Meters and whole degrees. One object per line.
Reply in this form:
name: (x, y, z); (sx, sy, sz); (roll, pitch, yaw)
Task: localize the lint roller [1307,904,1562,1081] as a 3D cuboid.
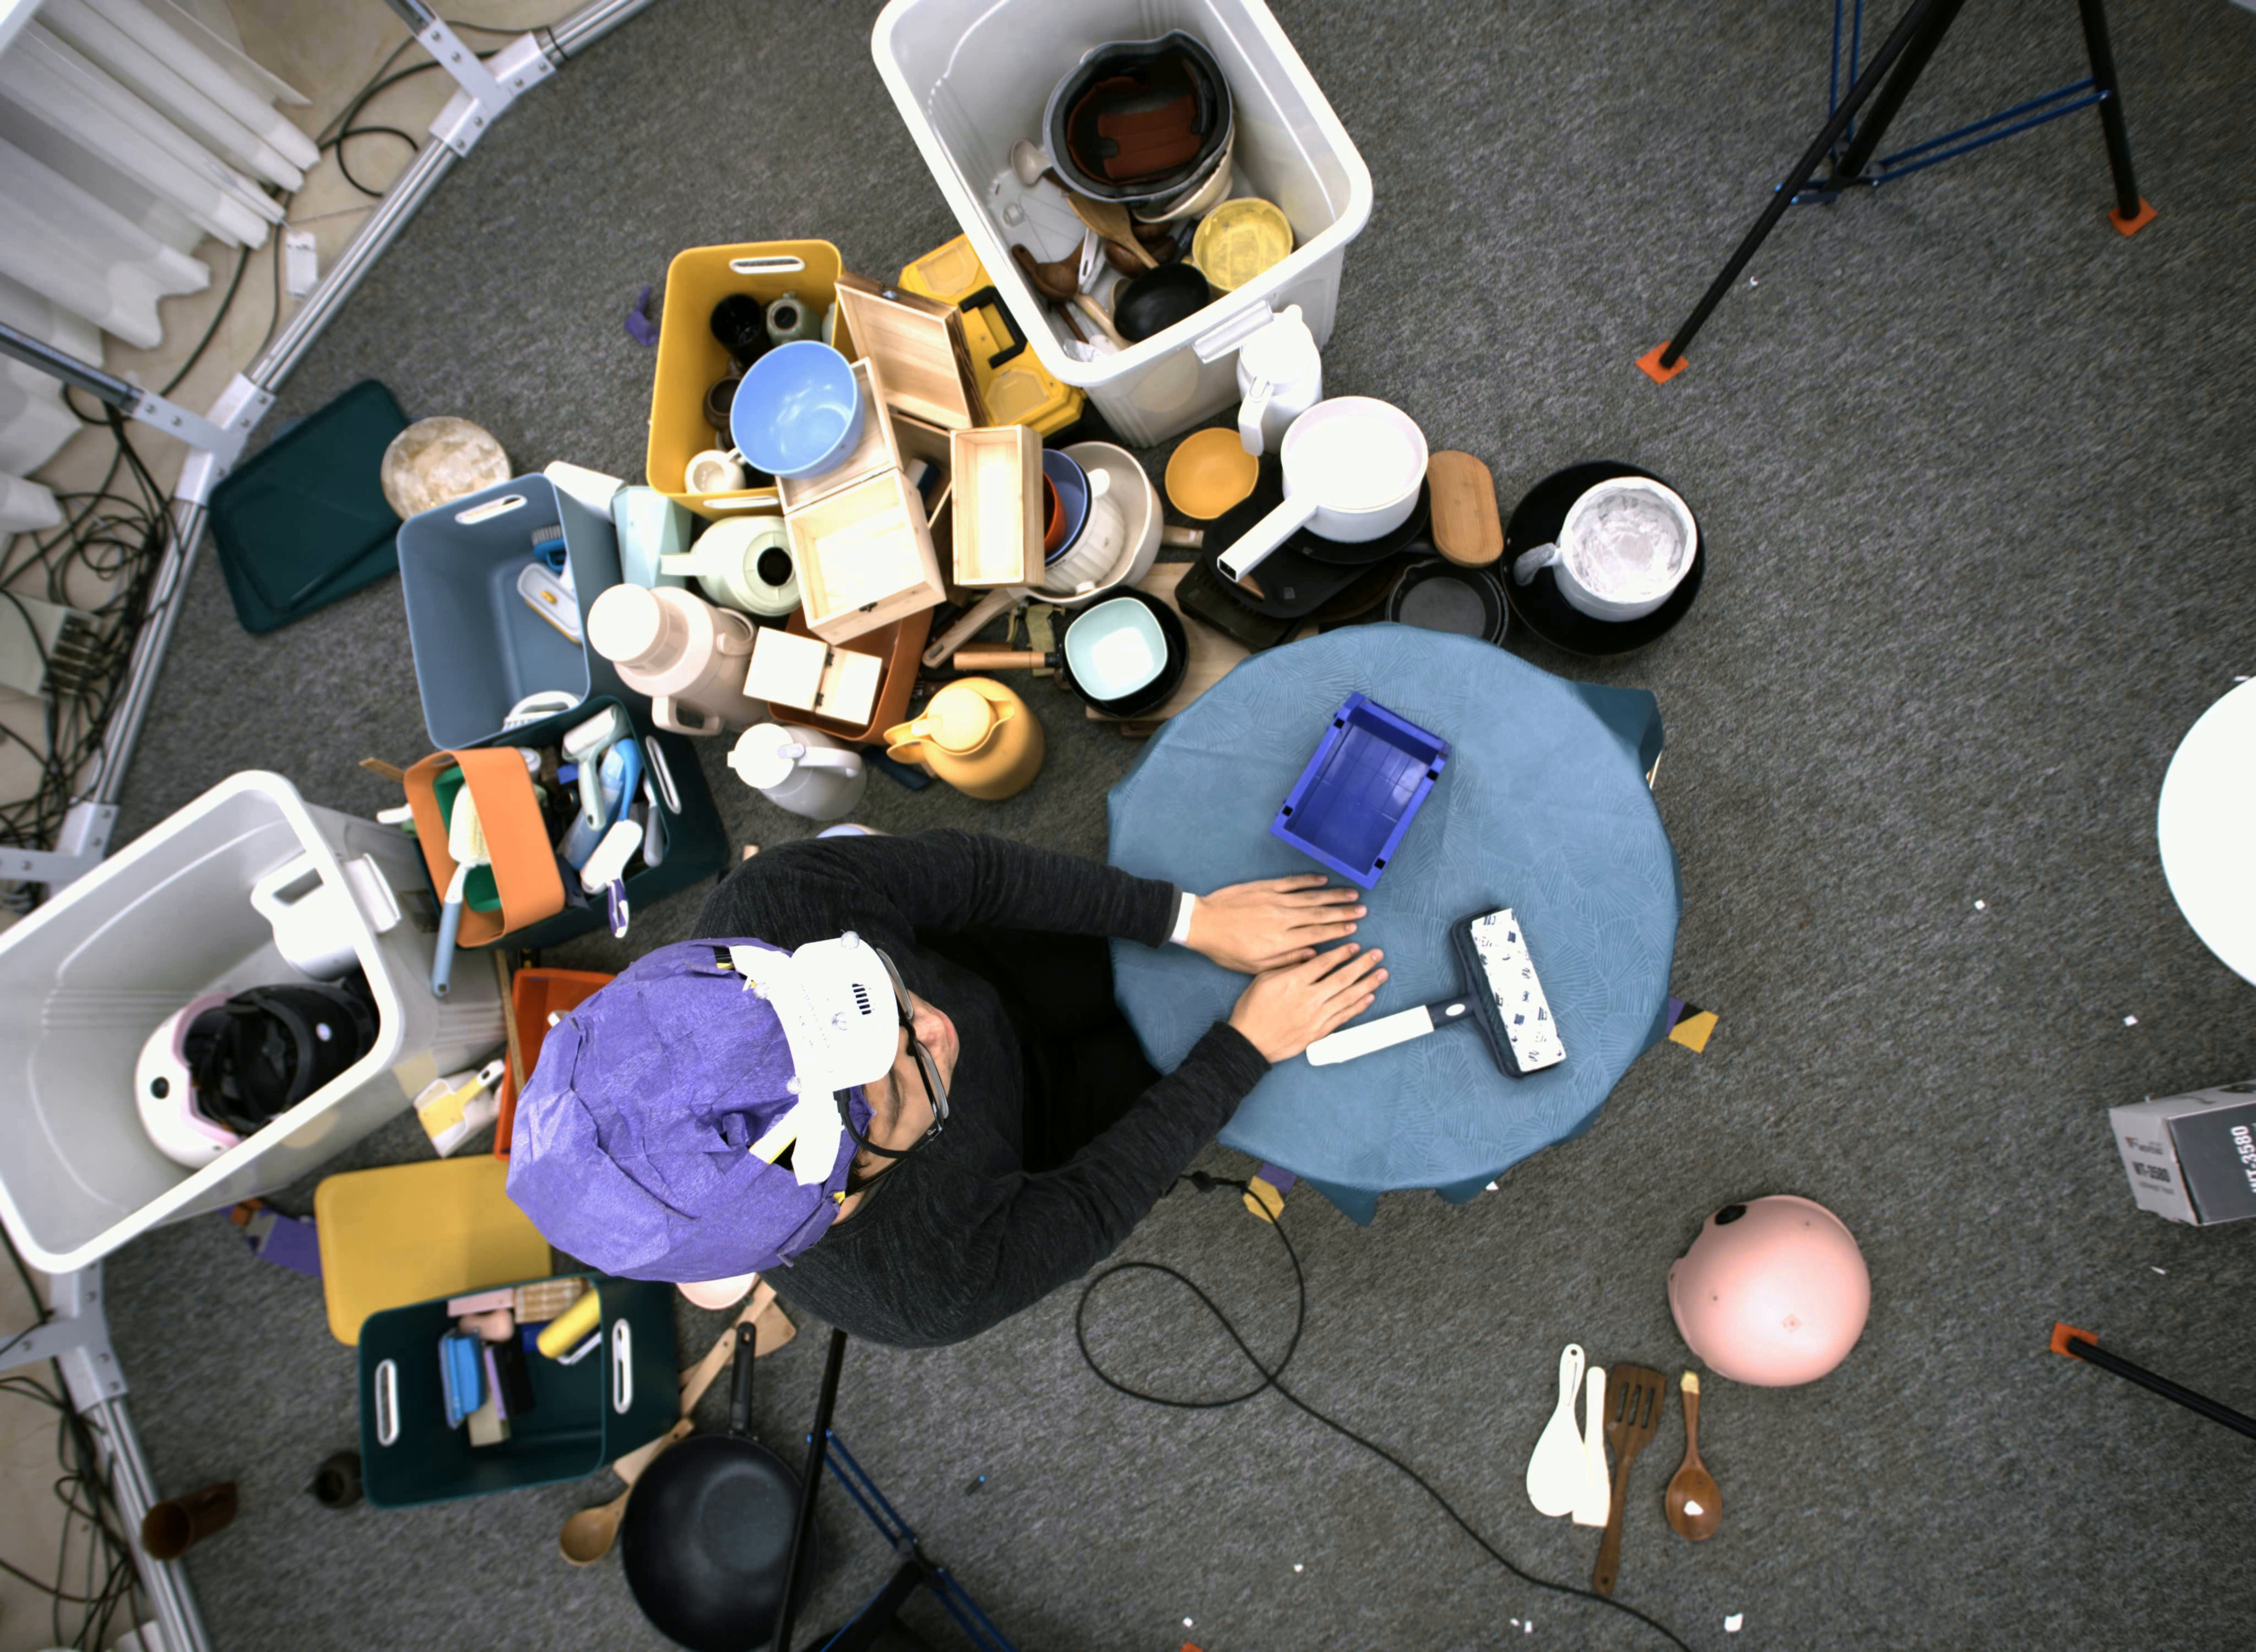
lint roller: (0.303, 0.200, 1.425); (0.248, 0.050, 0.175); (-21, 84, 10)

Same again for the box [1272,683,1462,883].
box: (0.247, -0.049, 1.430); (0.124, 0.082, 0.180); (32, 95, 11)
